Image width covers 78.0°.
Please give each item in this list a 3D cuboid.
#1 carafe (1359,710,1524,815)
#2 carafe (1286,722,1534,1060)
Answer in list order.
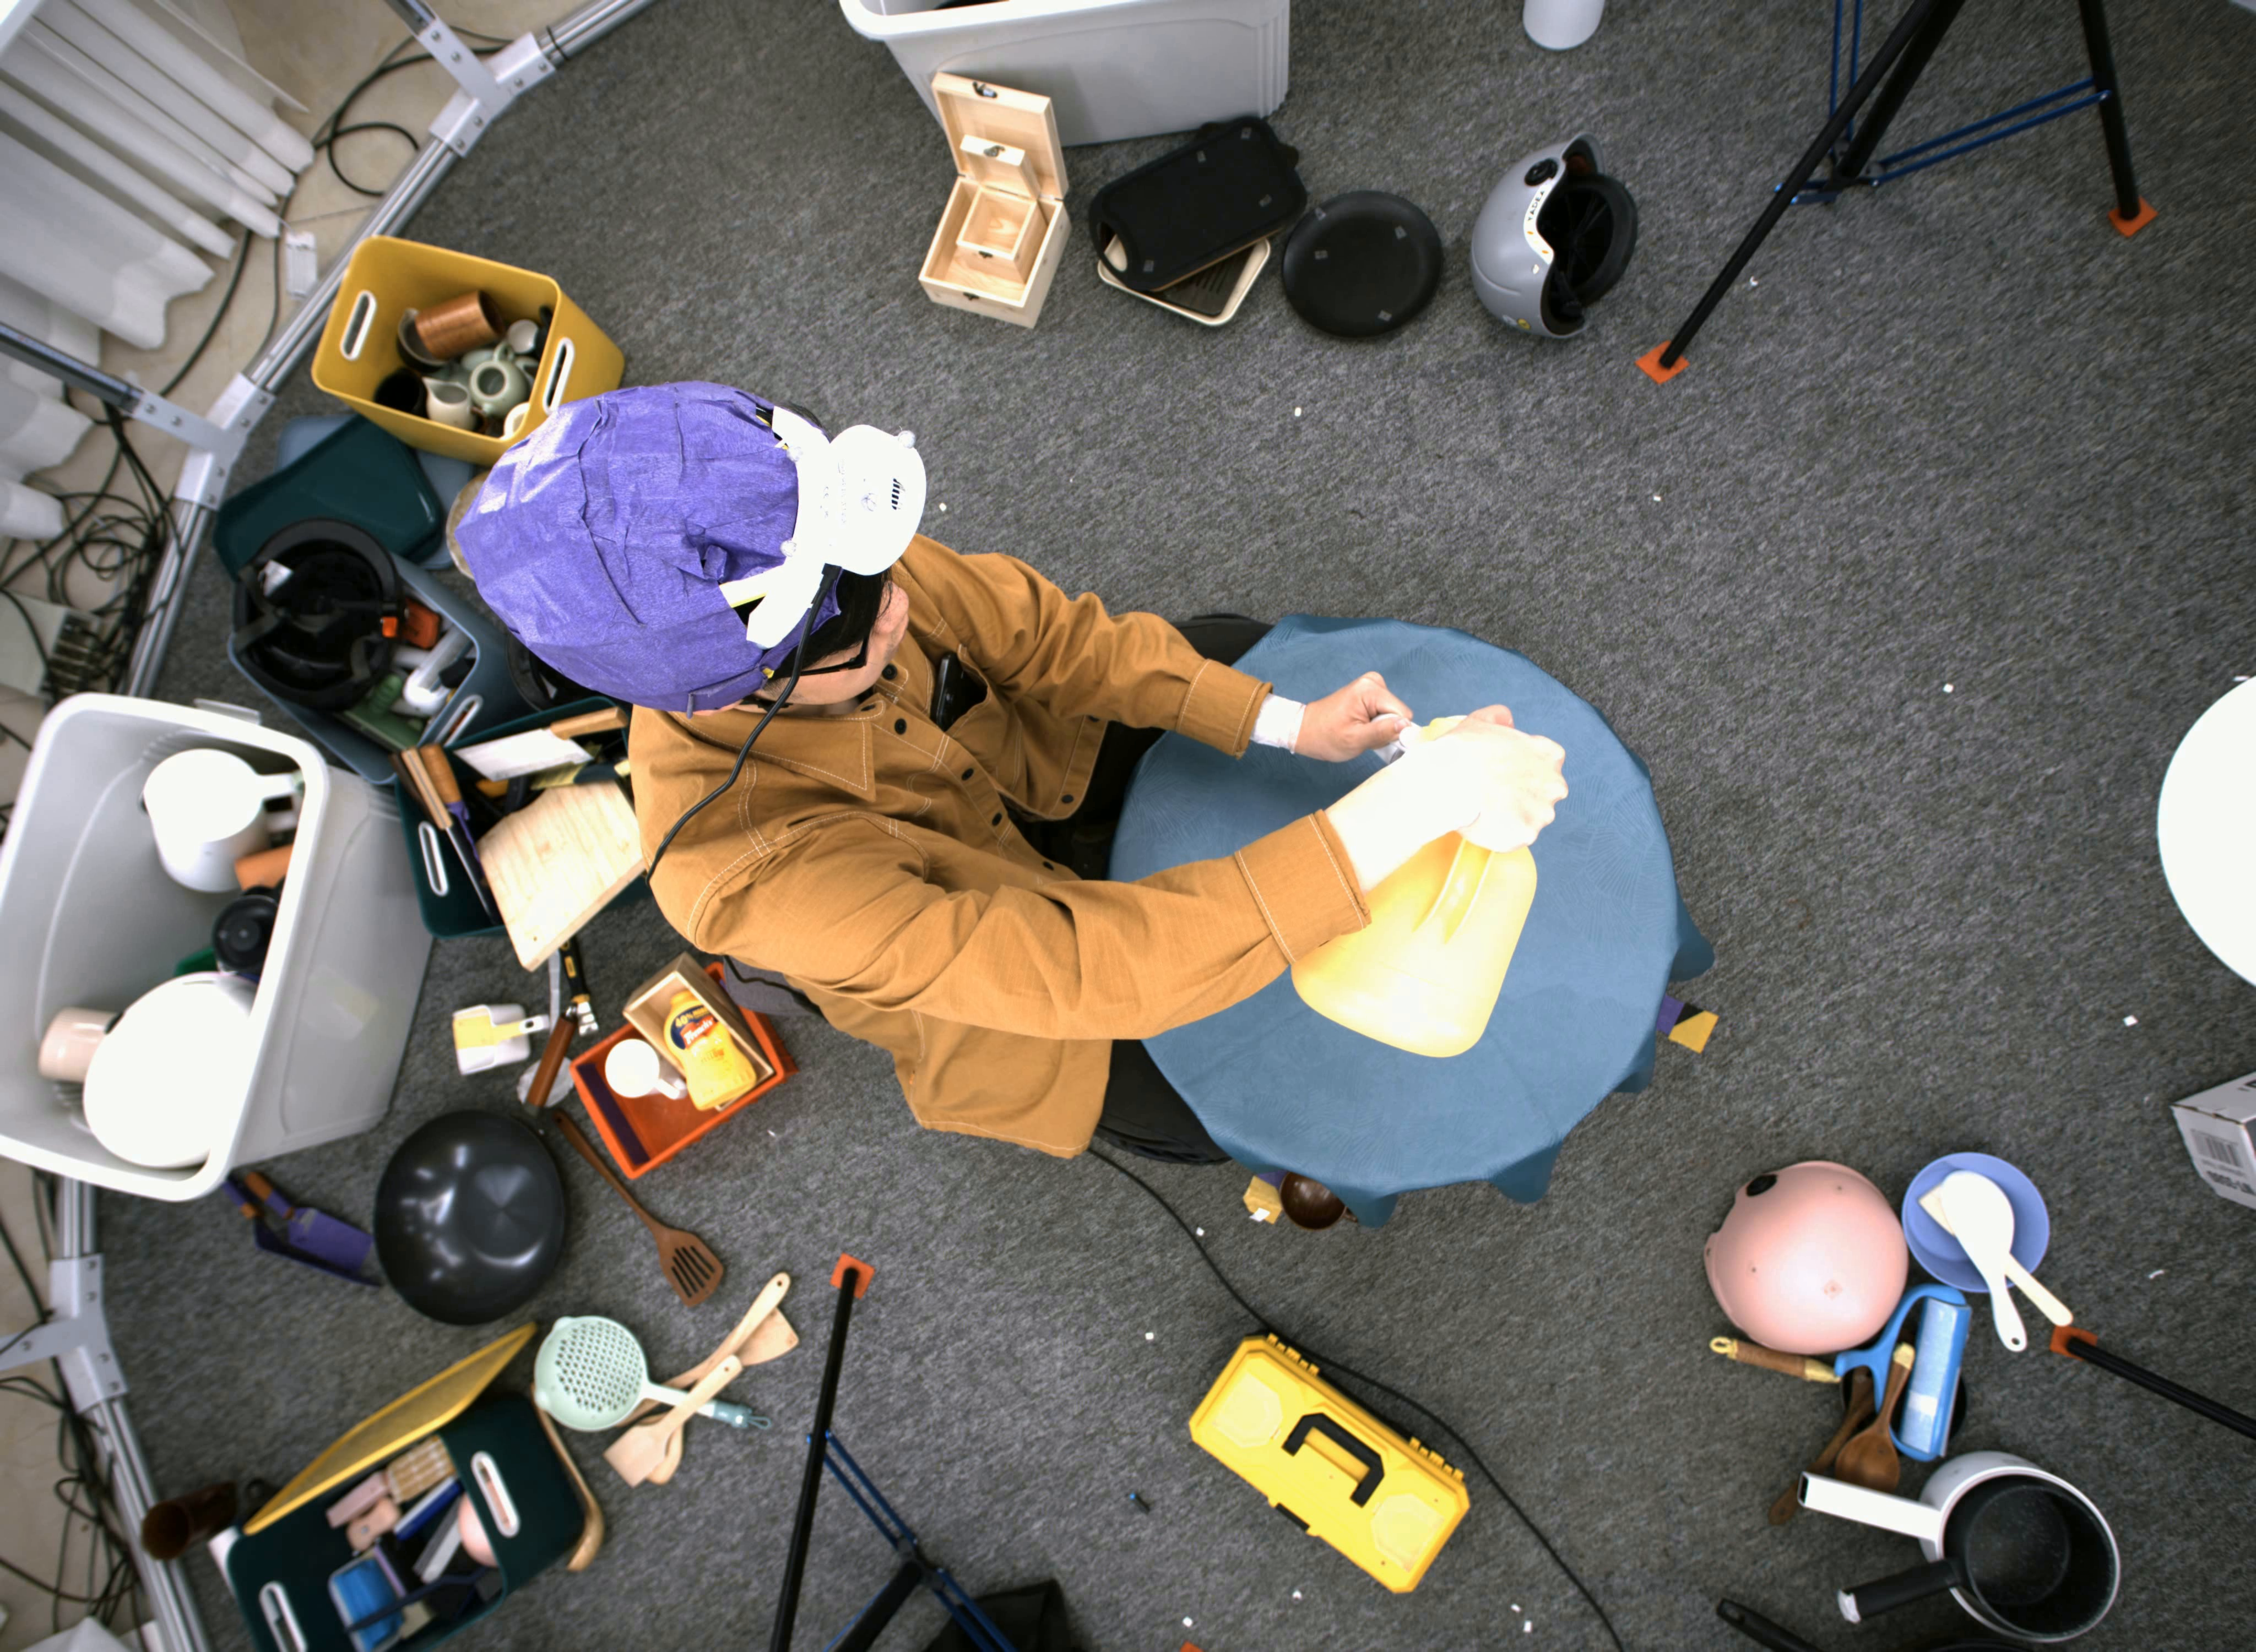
[{"bbox_3d":[0.299,-0.051,1.336,0.167,0.249,0.133,35,92,12],"label":"carafe"},{"bbox_3d":[0.237,0.046,1.090,0.163,0.202,0.261,20,92,4],"label":"carafe"}]
